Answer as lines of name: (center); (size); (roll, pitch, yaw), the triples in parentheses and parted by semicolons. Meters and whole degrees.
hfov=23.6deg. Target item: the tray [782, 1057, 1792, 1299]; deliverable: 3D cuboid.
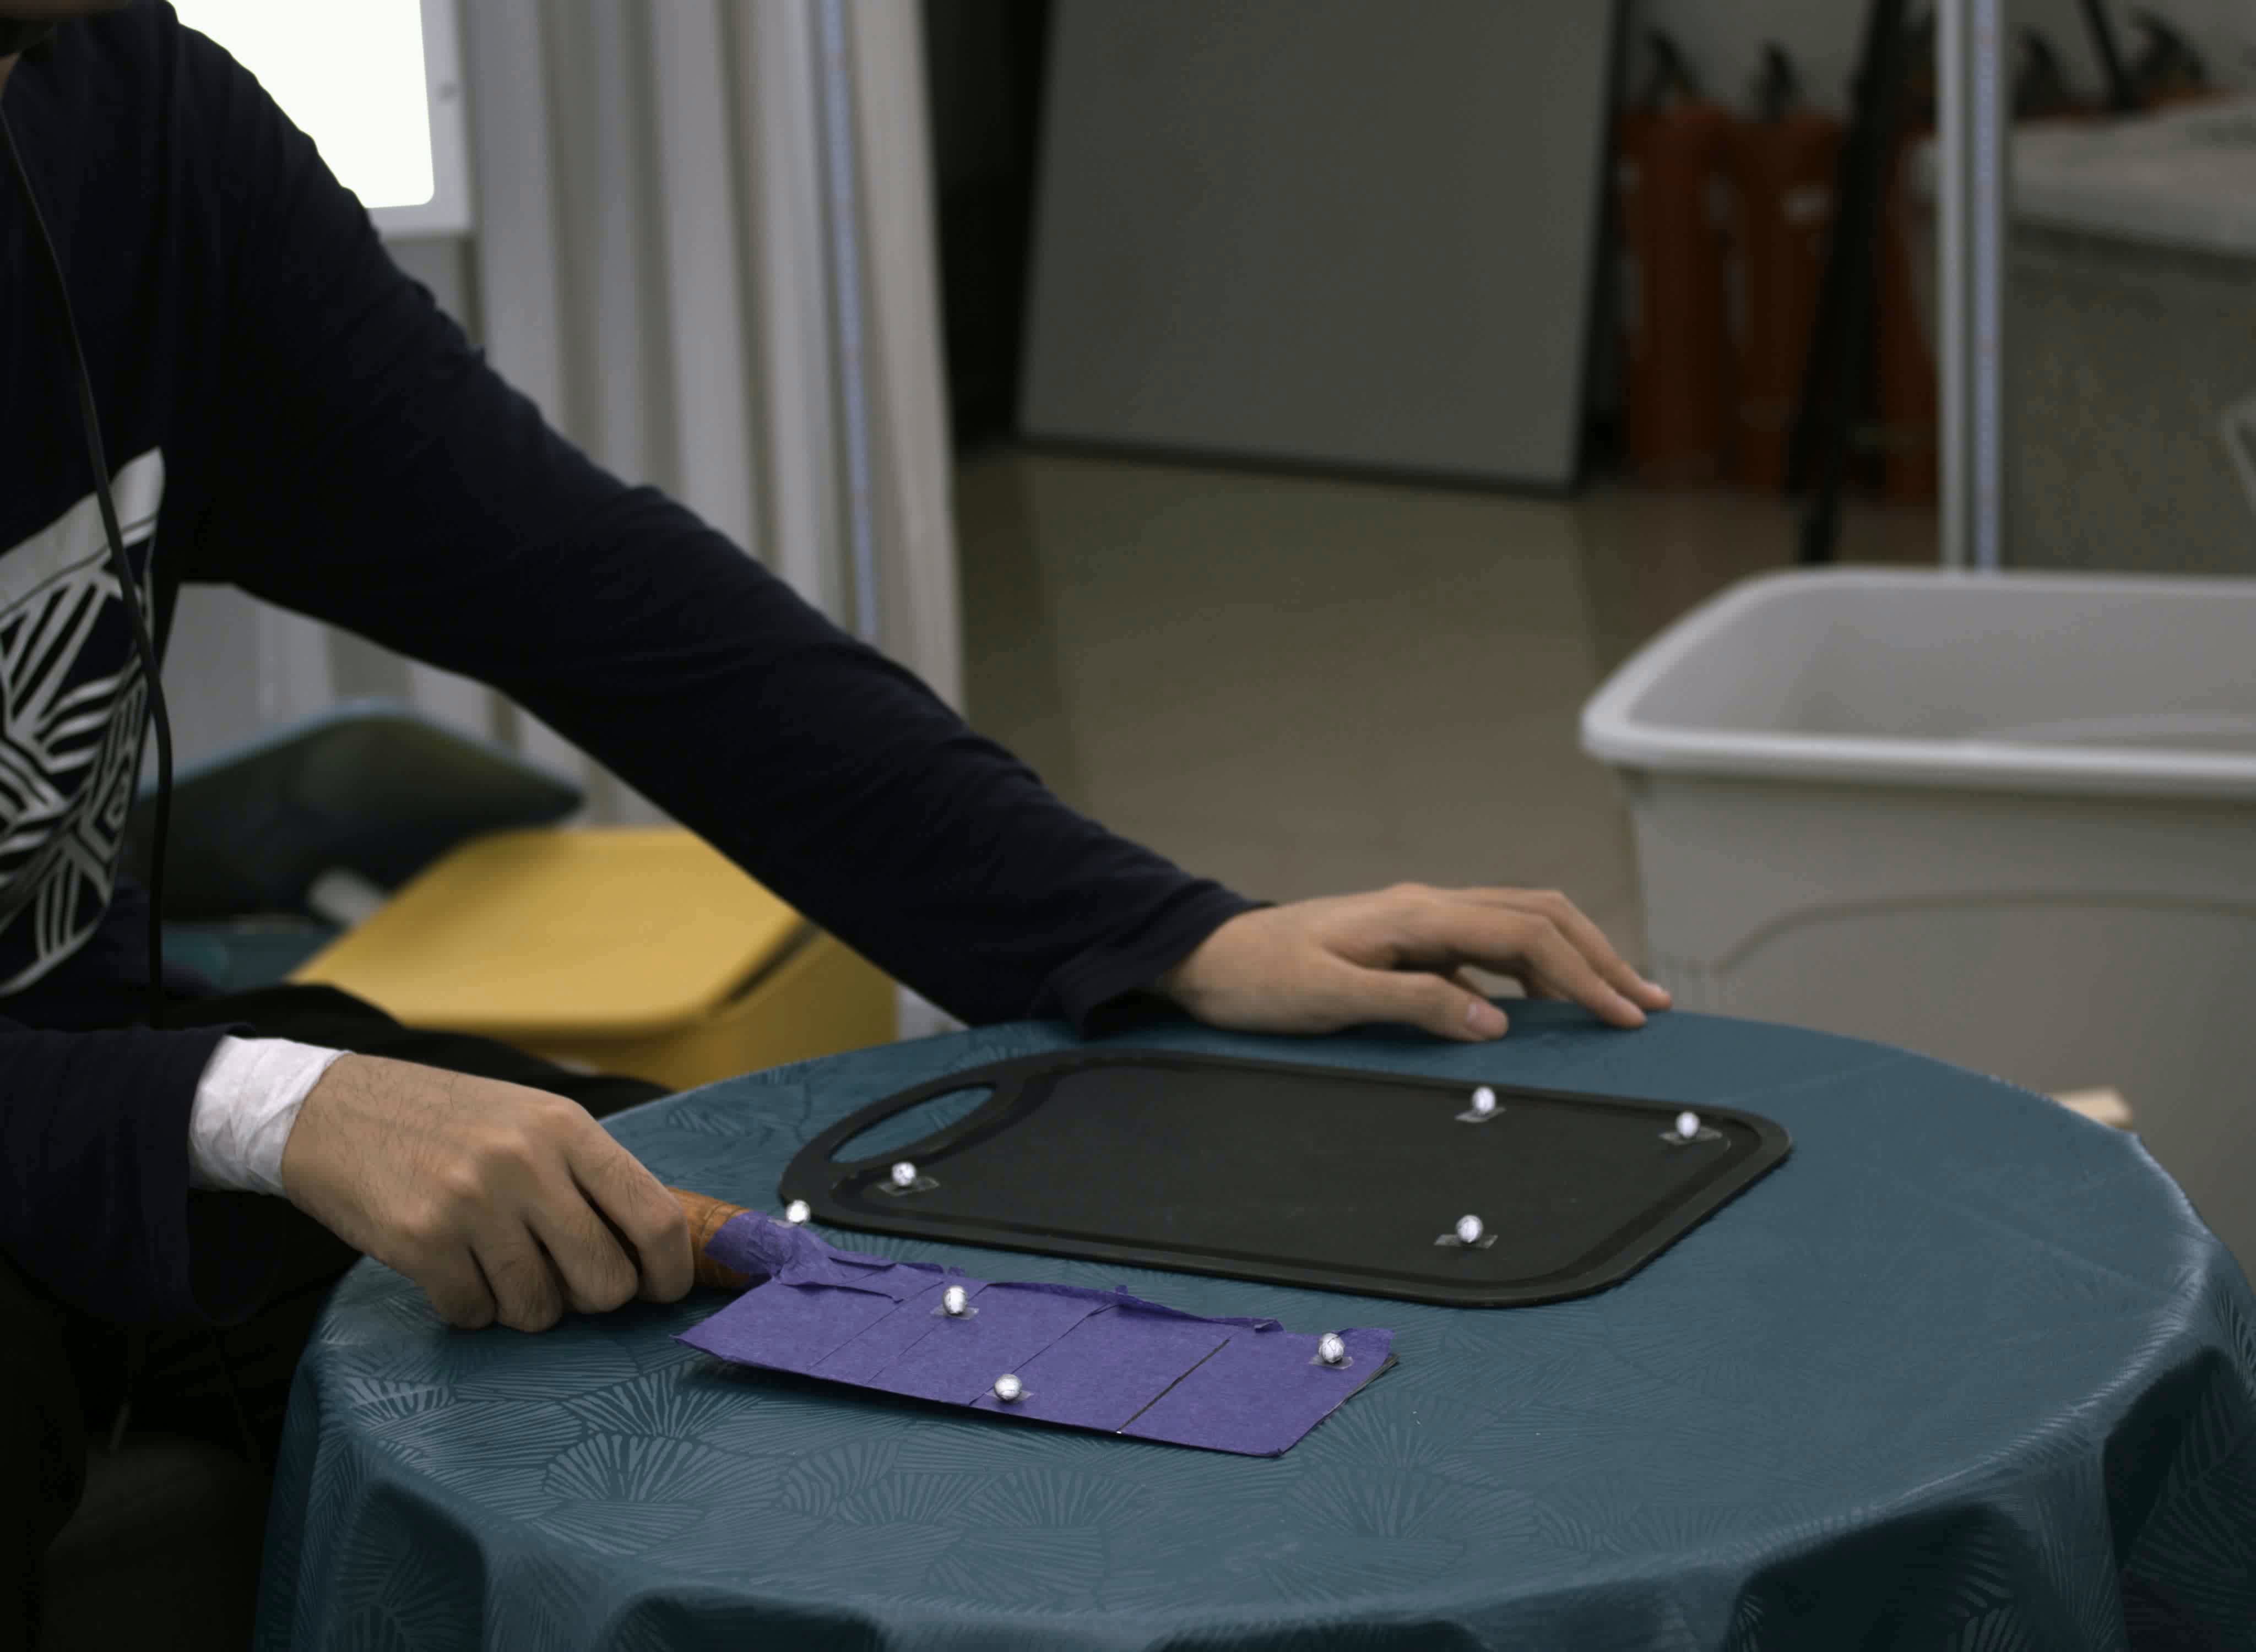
tray: (0.045, 0.112, 1.786); (0.327, 0.010, 0.208); (4, 15, 31)

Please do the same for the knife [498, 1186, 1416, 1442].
knife: (-0.072, 0.147, 1.633); (0.316, 0.032, 0.102); (4, 15, 29)
